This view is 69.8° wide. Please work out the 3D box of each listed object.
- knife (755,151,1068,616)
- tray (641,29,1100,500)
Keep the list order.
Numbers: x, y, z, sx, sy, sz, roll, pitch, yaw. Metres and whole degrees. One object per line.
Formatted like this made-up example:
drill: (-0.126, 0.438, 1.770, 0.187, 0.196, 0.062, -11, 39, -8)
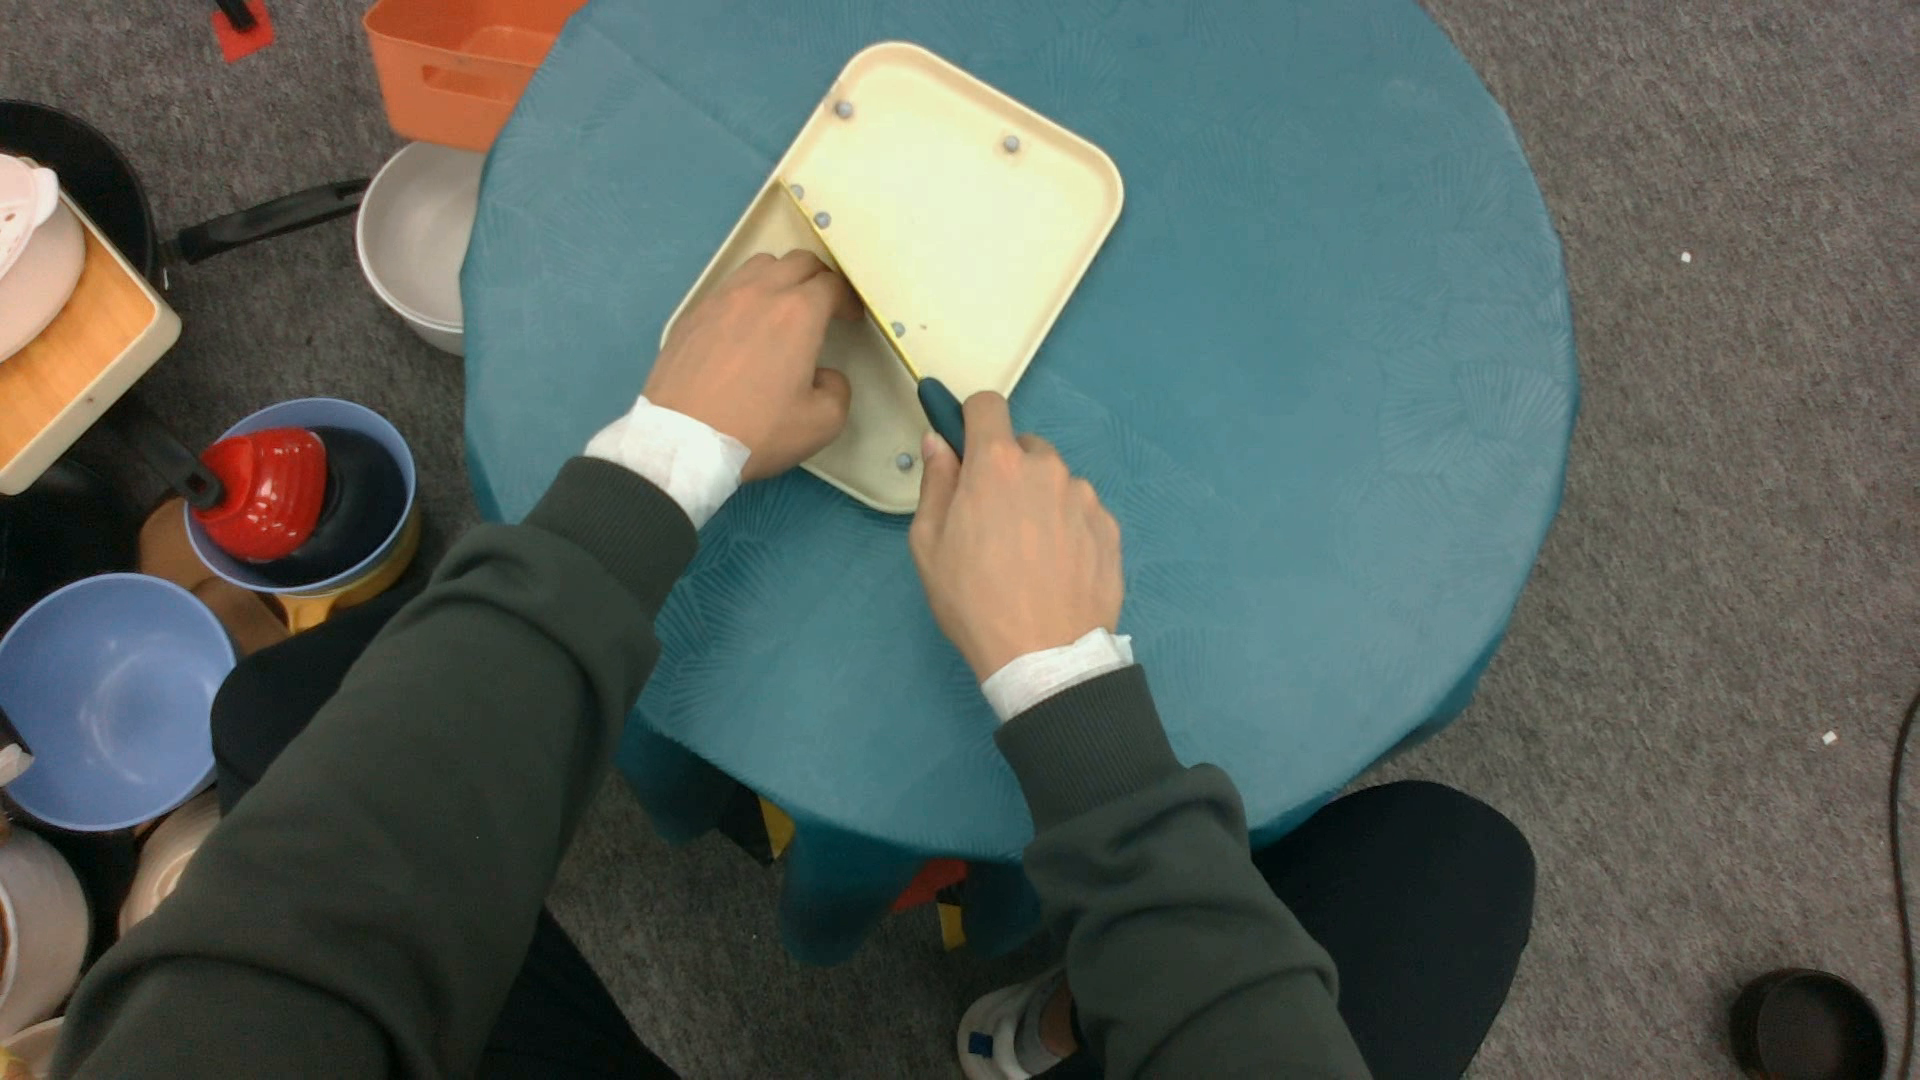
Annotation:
knife: (-0.031, -0.083, 0.676, 0.027, 0.081, 0.290, -33, 74, 2)
tray: (-0.044, -0.149, 0.730, 0.171, 0.017, 0.240, 29, 75, 2)
